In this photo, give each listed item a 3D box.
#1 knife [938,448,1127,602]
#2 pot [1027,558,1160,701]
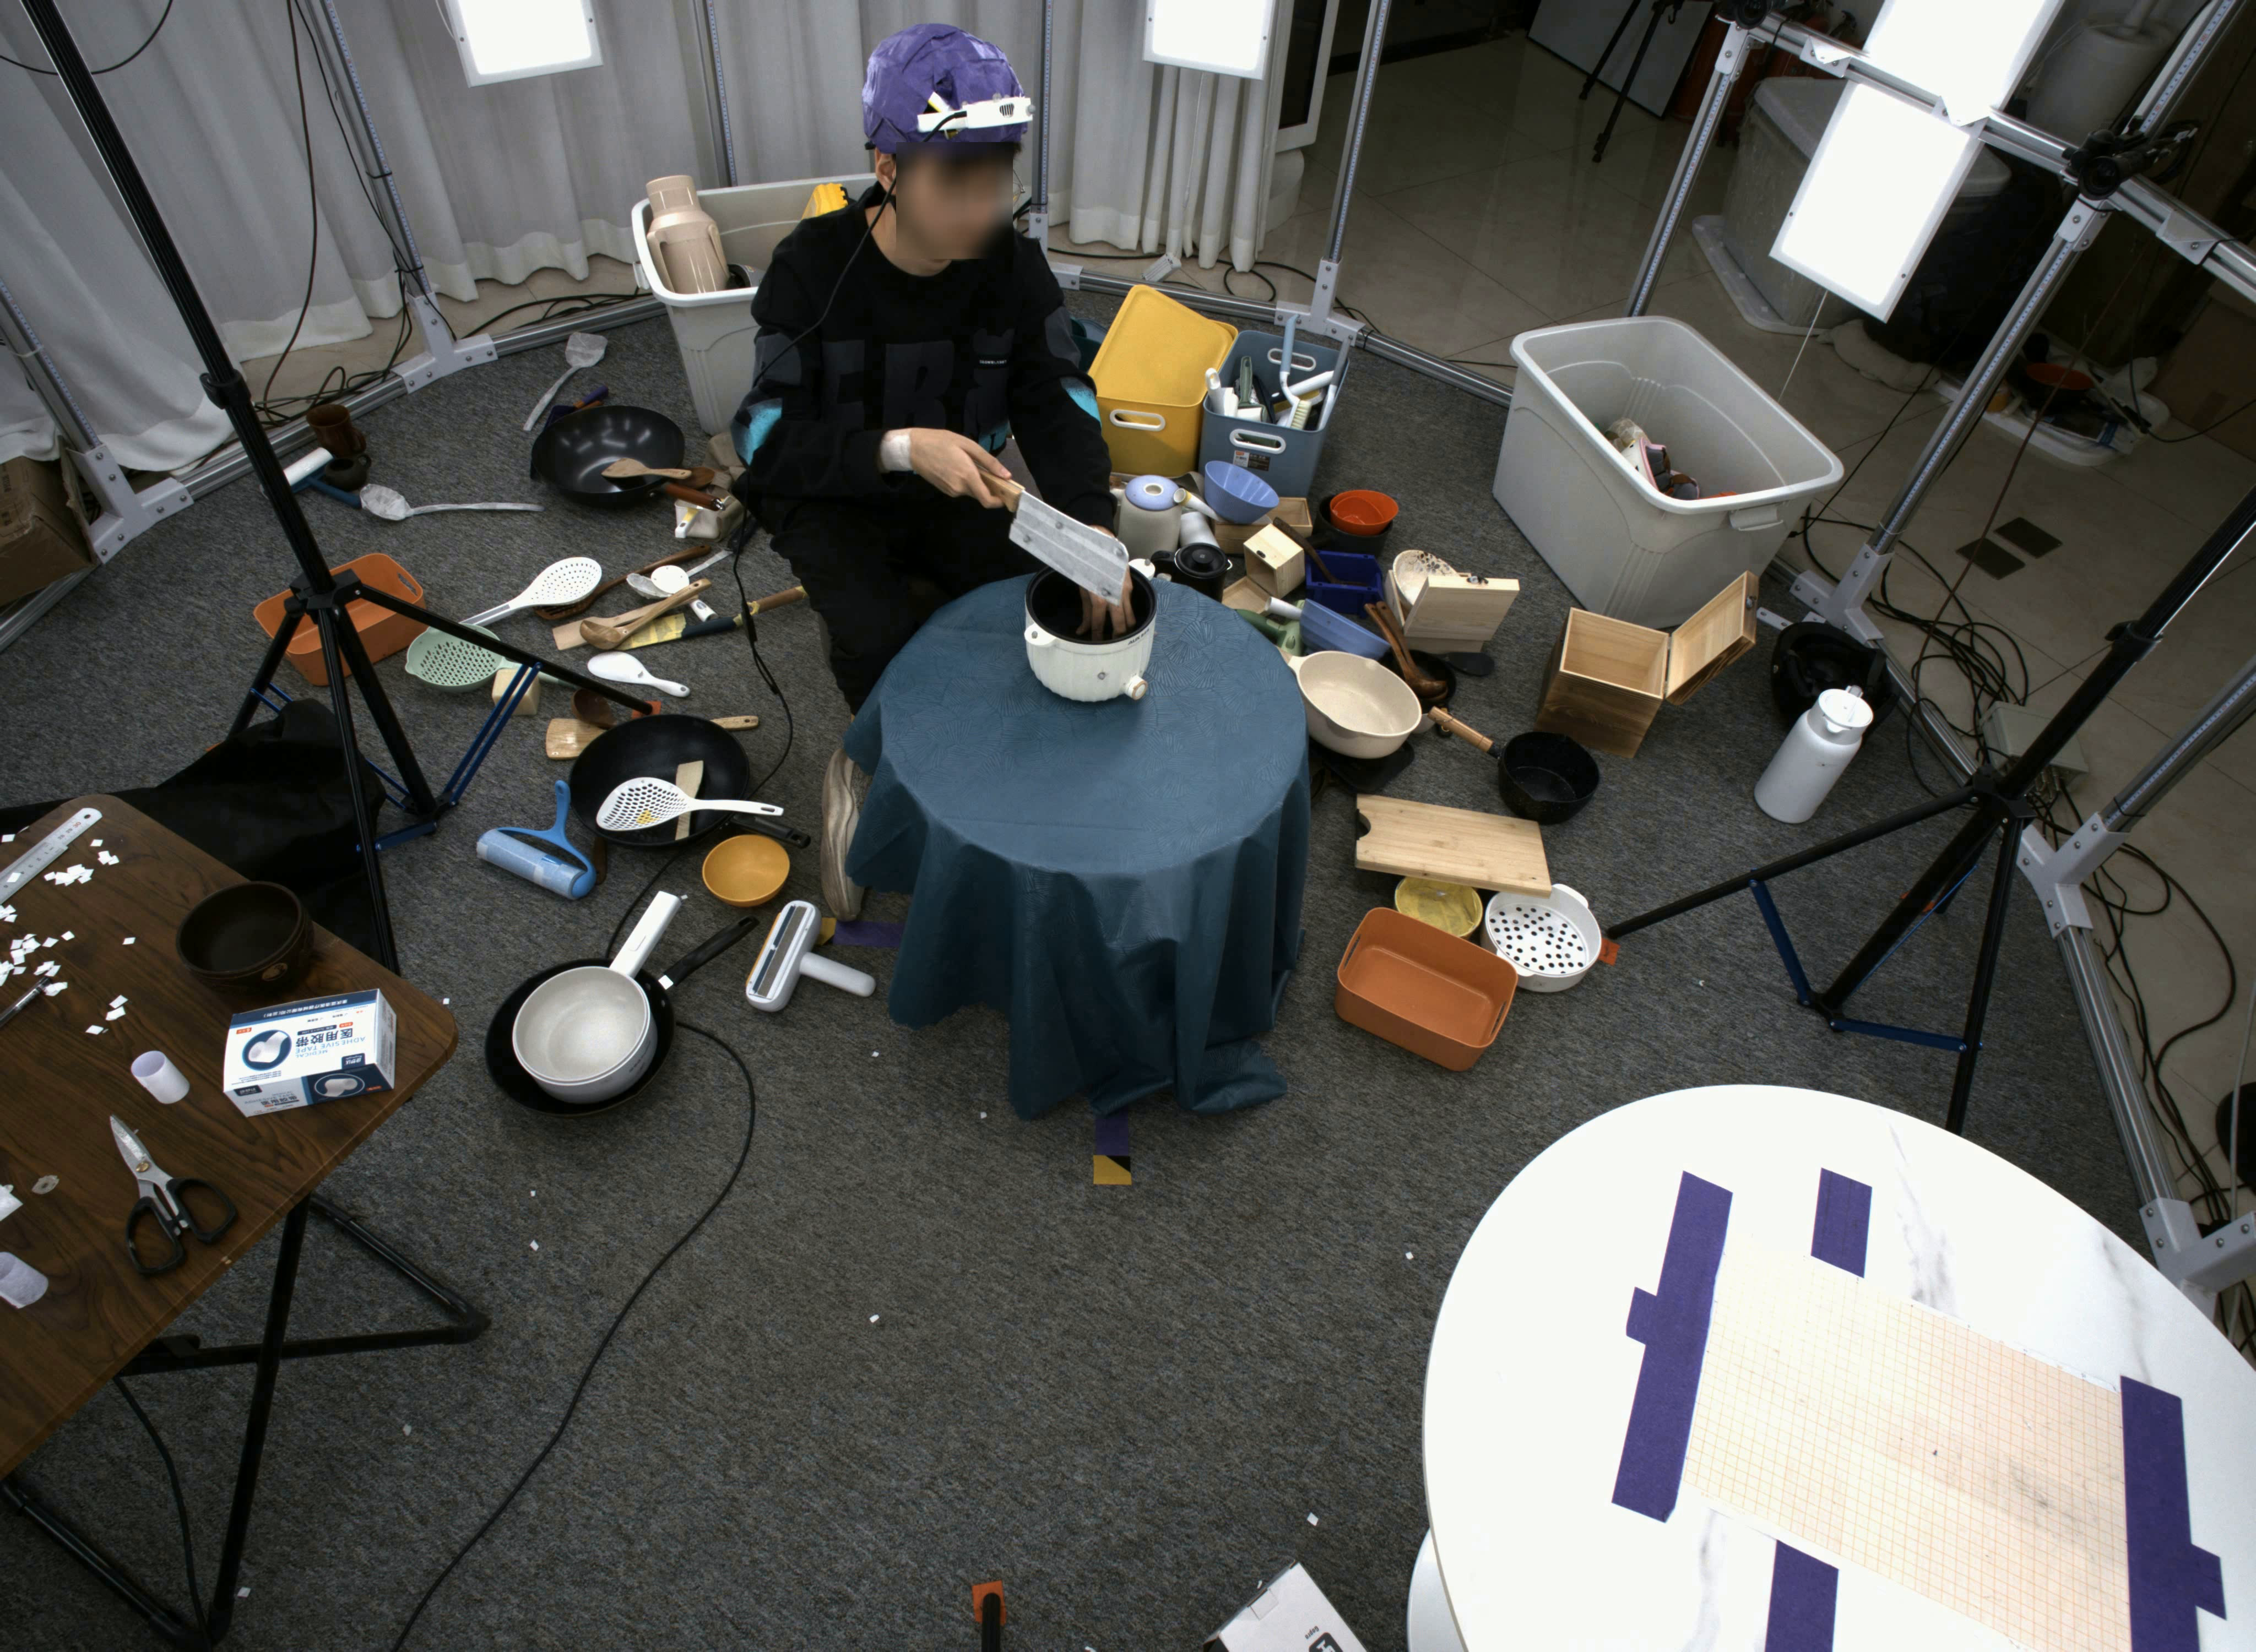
[{"bbox_3d":[-0.125,-0.411,1.720,0.317,0.111,0.022,36,50,12],"label":"knife"},{"bbox_3d":[-0.045,-0.269,1.809,0.193,0.139,0.243,35,56,27],"label":"pot"}]
